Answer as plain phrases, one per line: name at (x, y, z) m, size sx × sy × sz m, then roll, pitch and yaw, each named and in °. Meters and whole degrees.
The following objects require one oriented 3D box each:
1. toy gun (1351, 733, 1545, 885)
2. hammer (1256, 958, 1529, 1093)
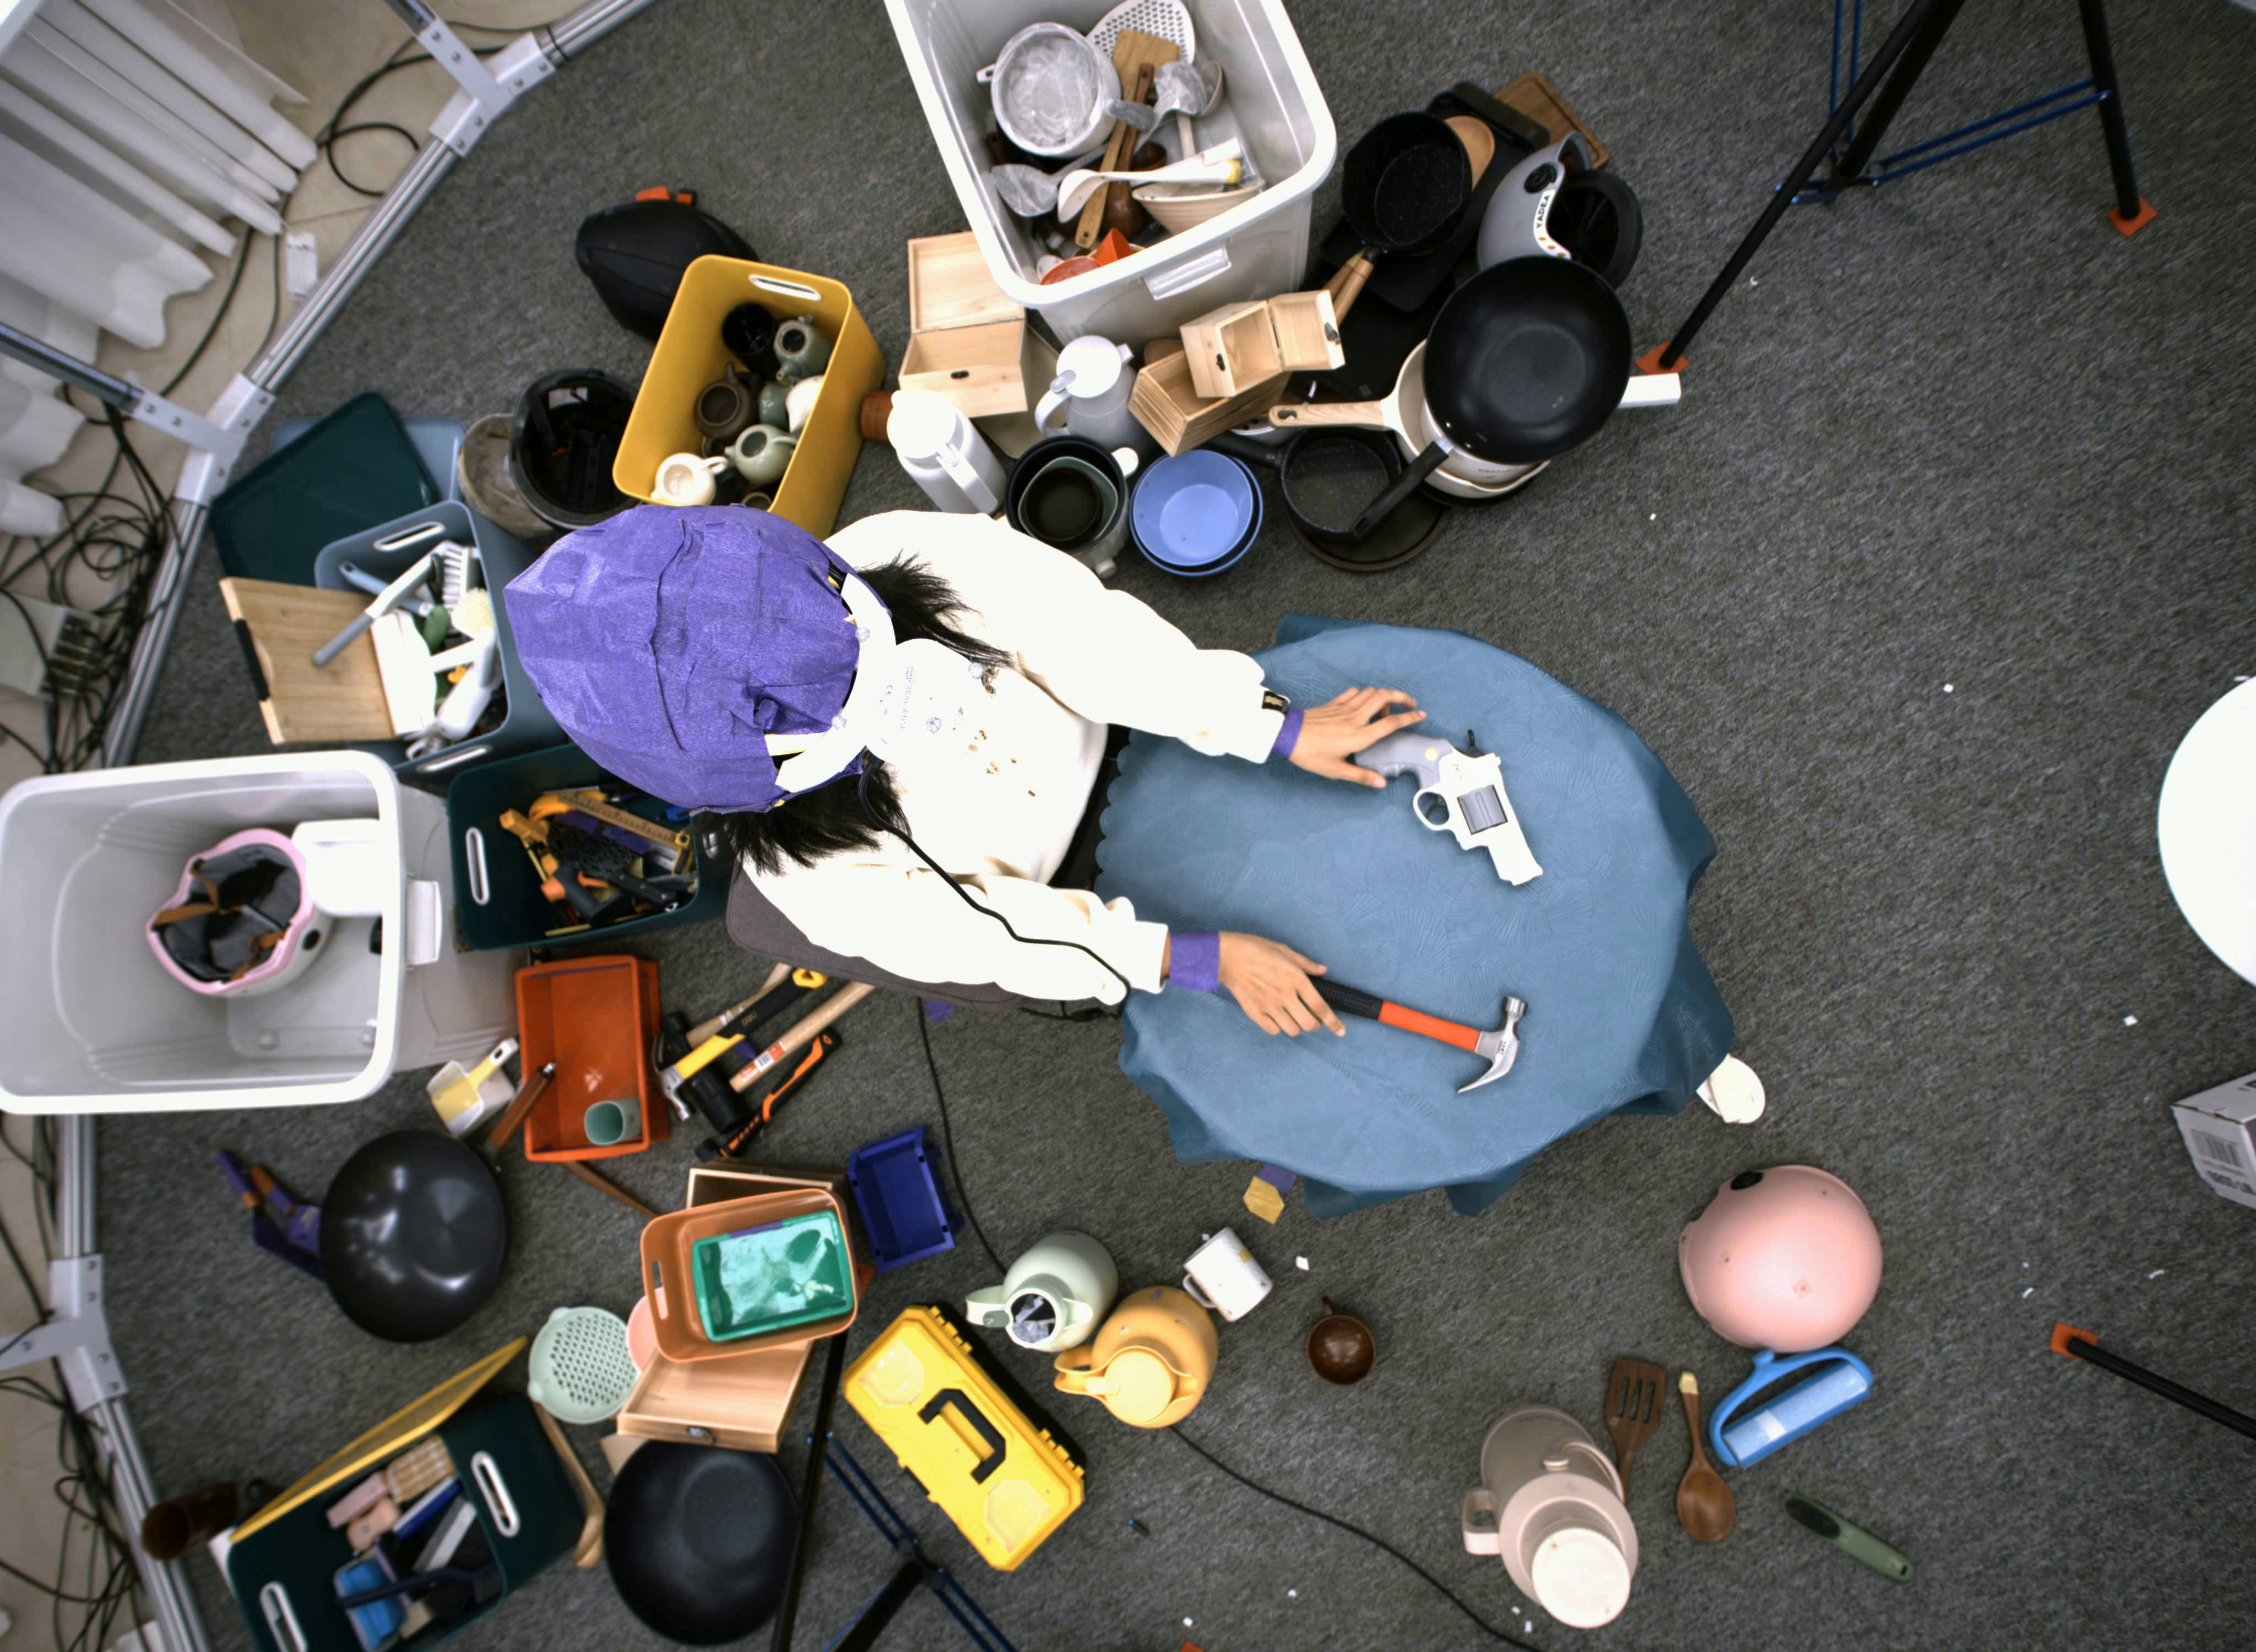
toy gun at (0.329, -0.022, 1.433) m, size 0.142 × 0.039 × 0.207 m, roll -22°, pitch 81°, yaw 6°
hammer at (0.267, 0.193, 1.438) m, size 0.277 × 0.026 × 0.111 m, roll 17°, pitch 99°, yaw 11°
